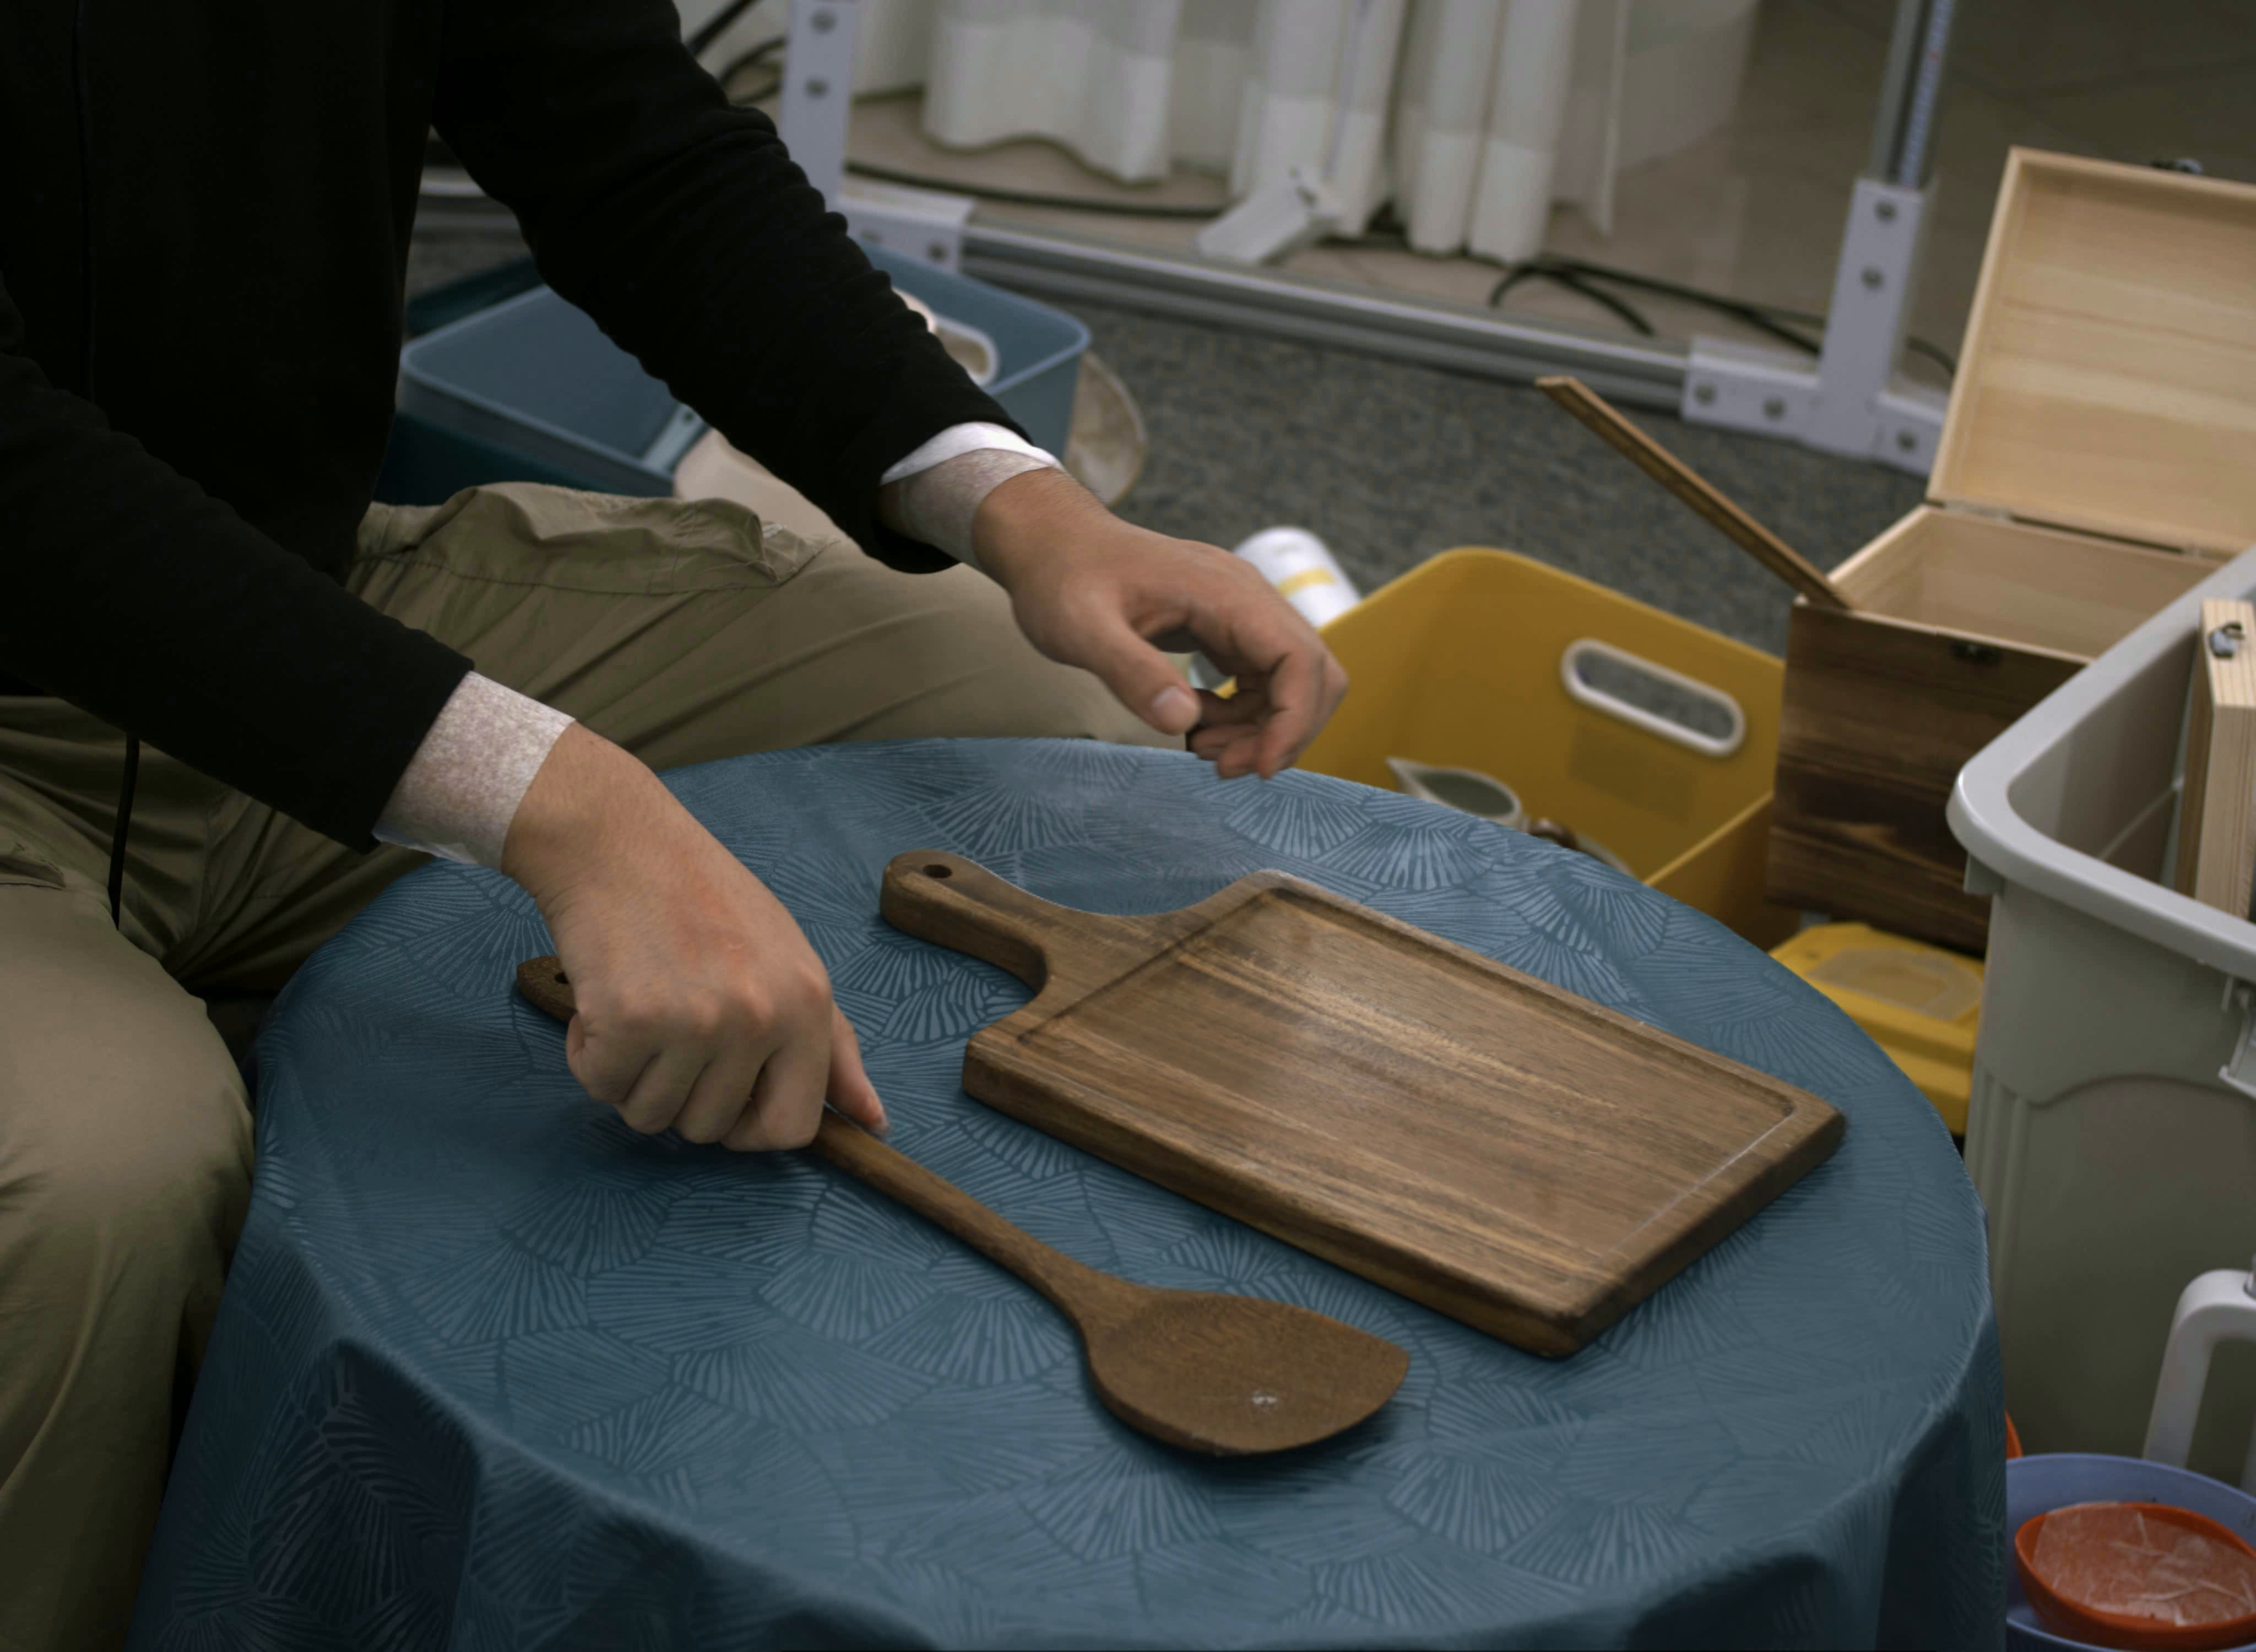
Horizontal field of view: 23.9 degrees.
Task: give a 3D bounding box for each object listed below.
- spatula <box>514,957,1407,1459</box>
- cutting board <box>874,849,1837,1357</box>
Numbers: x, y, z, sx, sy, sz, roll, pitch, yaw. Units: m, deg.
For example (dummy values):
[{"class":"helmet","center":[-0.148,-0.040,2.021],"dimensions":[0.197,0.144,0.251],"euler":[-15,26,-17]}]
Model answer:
[{"class":"spatula","center":[-0.073,0.119,1.776],"dimensions":[0.389,0.016,0.095],"euler":[27,32,35]},{"class":"cutting board","center":[0.055,0.078,1.882],"dimensions":[0.354,0.023,0.200],"euler":[22,31,28]}]
